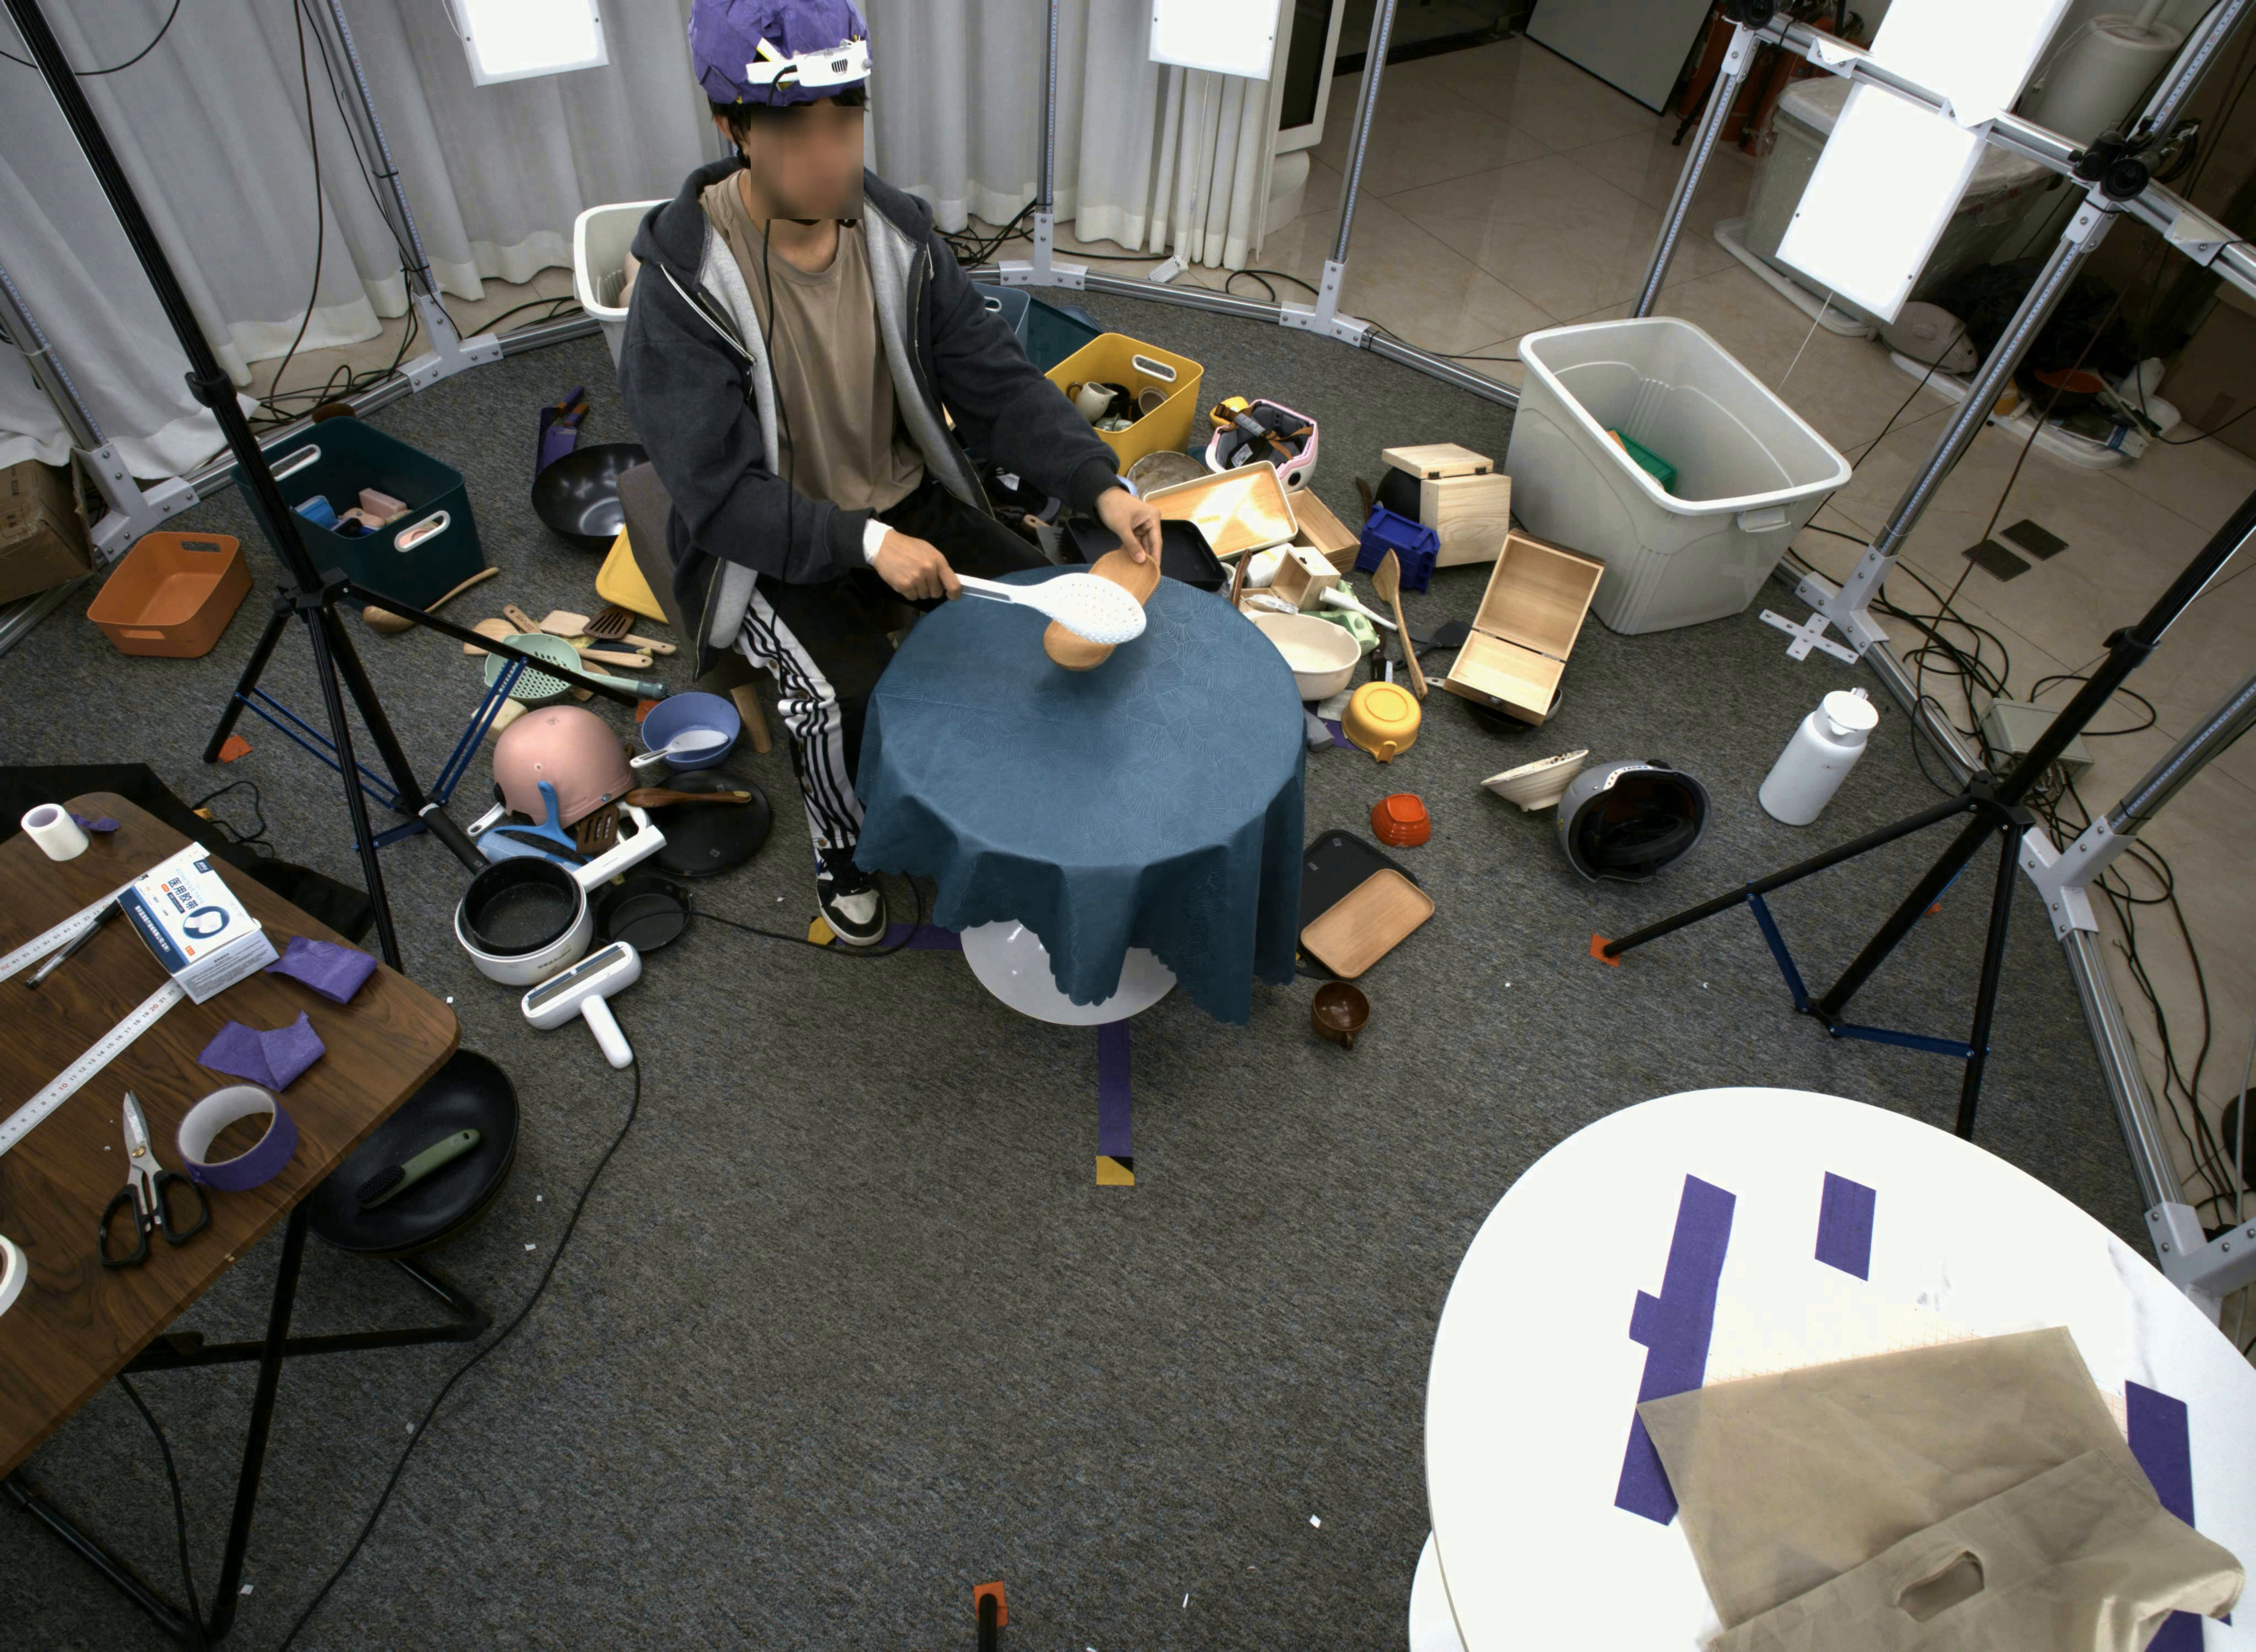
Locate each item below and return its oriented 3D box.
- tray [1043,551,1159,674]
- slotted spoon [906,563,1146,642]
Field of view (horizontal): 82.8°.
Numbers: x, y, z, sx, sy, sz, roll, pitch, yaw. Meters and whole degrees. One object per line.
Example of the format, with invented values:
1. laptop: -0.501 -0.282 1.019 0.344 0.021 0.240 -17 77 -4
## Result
1. tray: -0.036 -0.304 1.824 0.102 0.020 0.234 22 63 19
2. slotted spoon: -0.143 -0.314 1.743 0.352 0.133 0.046 18 62 20
